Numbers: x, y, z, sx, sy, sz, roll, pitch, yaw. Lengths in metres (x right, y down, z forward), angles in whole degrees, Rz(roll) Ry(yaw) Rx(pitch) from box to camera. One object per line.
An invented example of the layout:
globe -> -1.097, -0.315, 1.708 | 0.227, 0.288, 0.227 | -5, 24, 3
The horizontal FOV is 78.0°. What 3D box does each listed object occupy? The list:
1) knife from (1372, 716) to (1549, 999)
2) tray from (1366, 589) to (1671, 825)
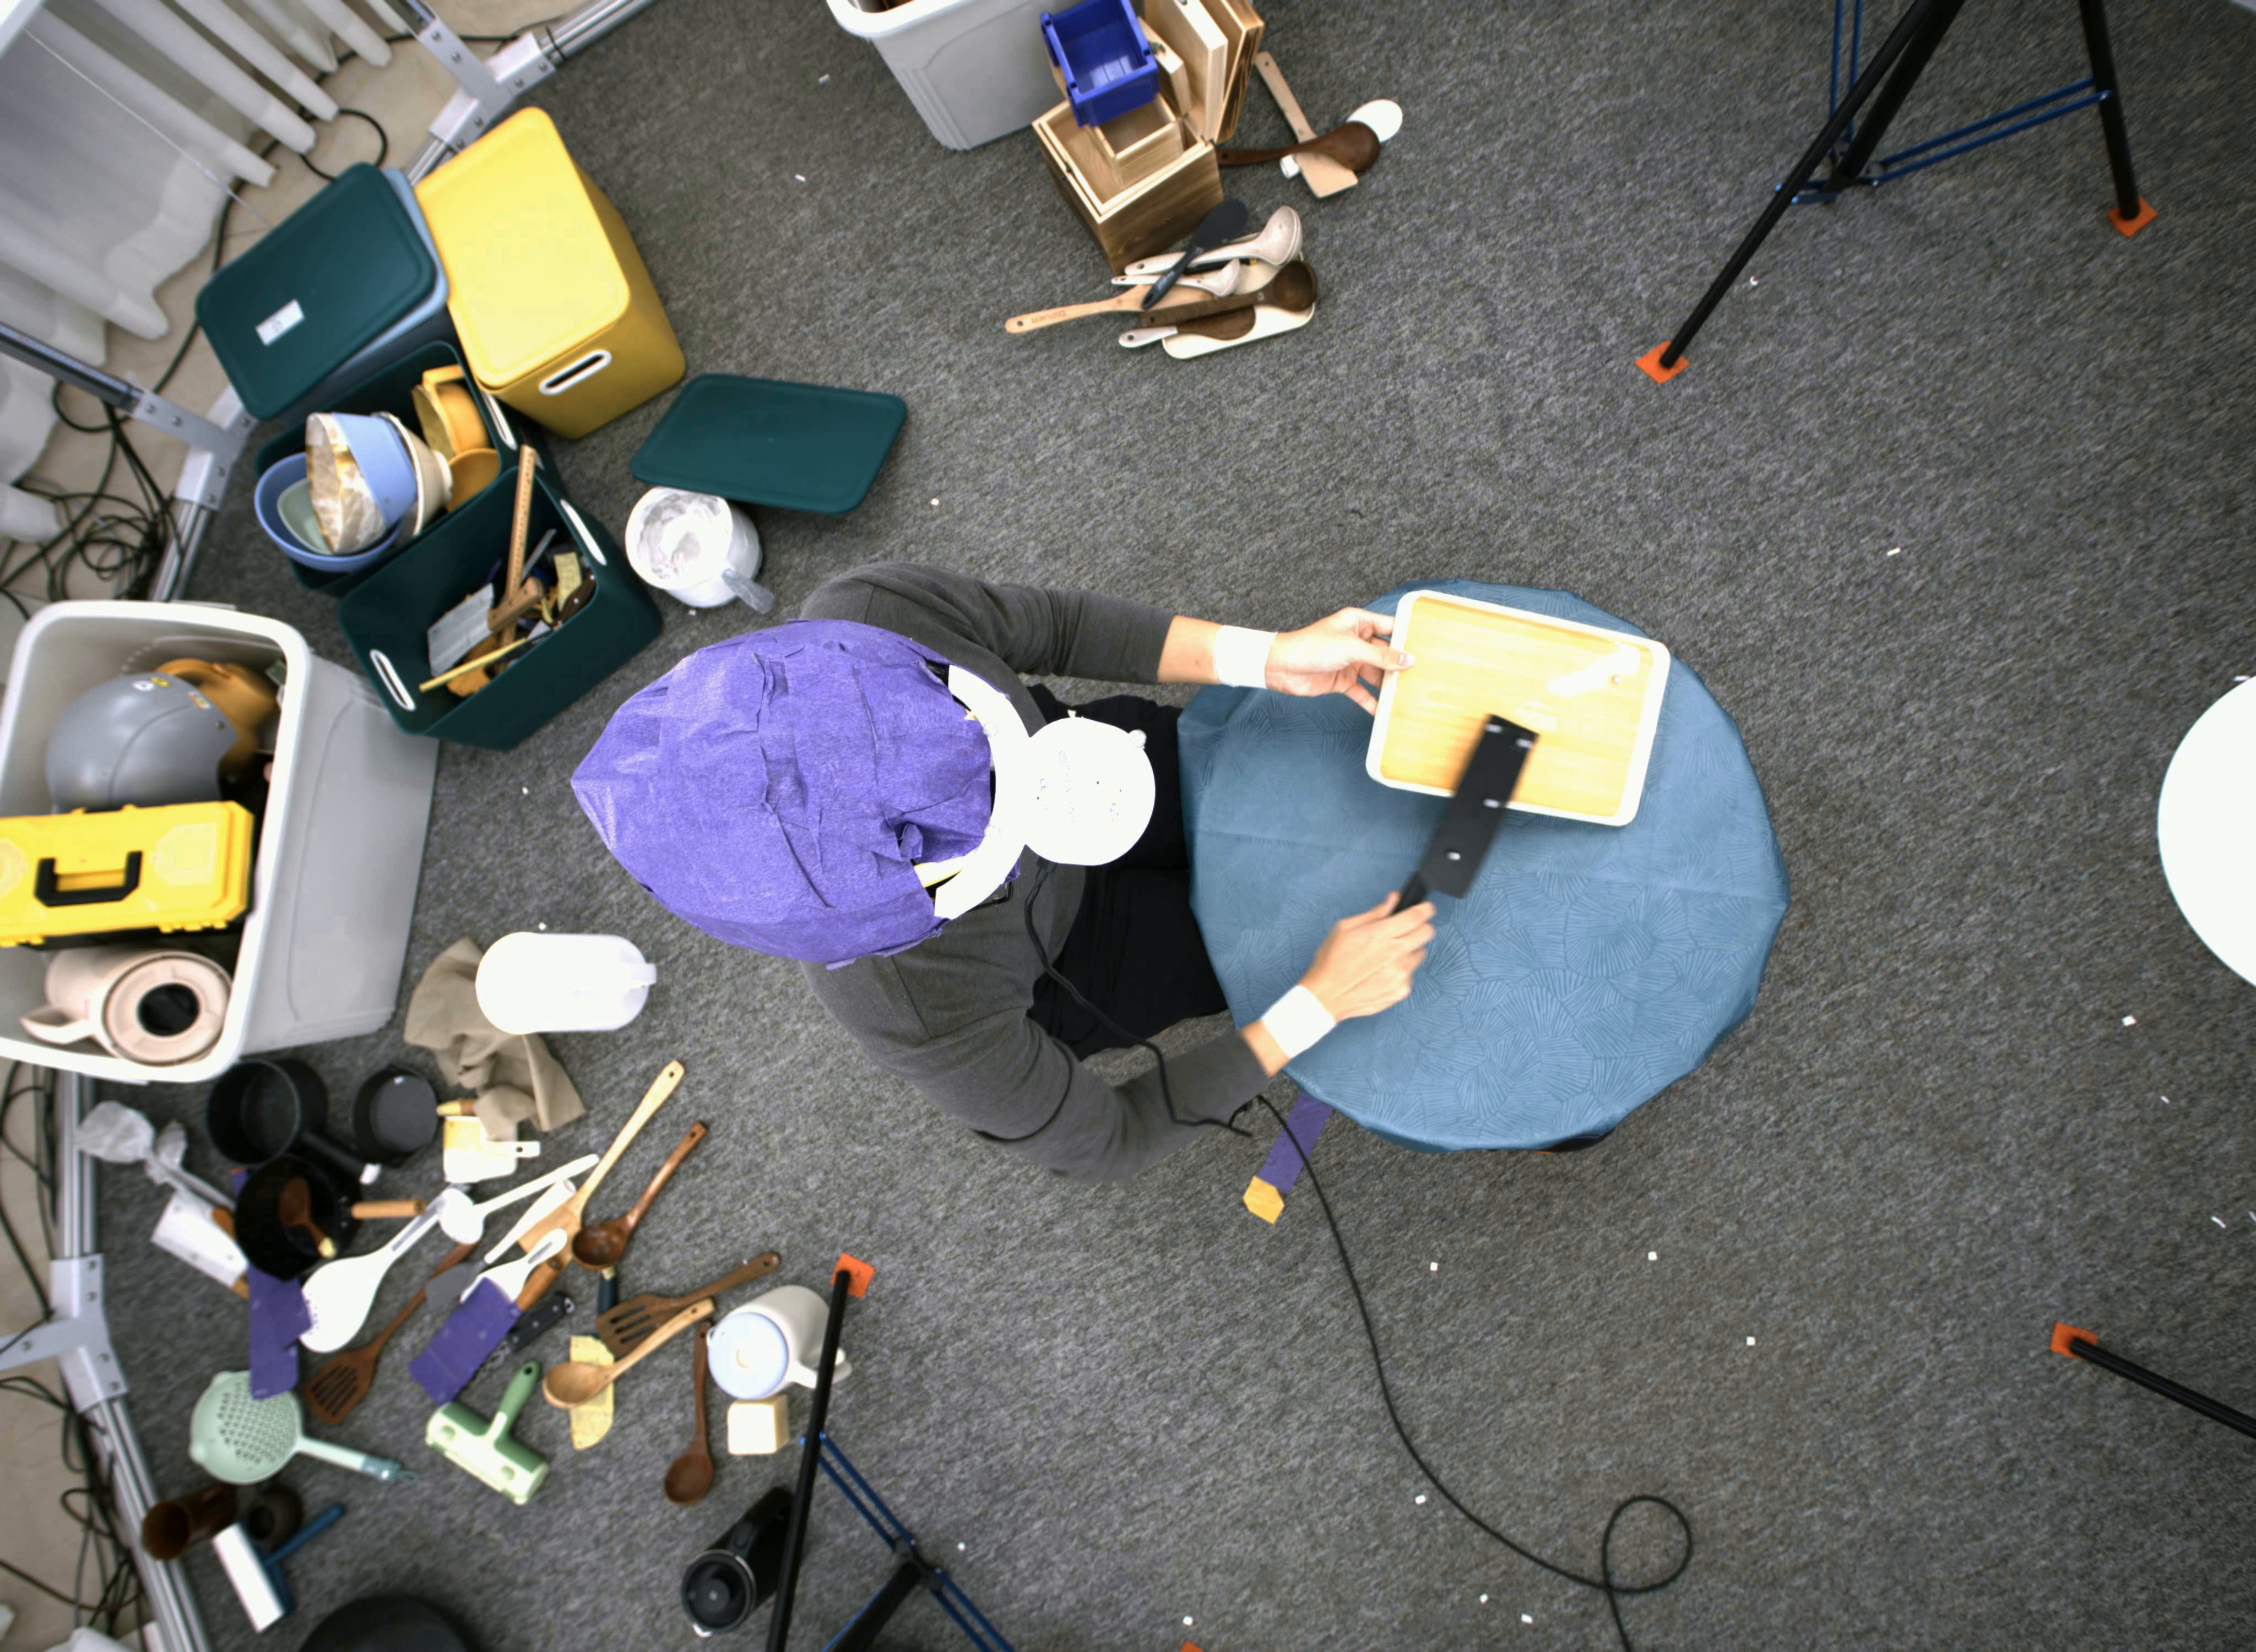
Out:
knife -> 0.323, 0.034, 1.352 | 0.081, 0.020, 0.305 | 23, 103, -20
tray -> 0.389, -0.117, 1.355 | 0.300, 0.027, 0.193 | 8, 99, -16
